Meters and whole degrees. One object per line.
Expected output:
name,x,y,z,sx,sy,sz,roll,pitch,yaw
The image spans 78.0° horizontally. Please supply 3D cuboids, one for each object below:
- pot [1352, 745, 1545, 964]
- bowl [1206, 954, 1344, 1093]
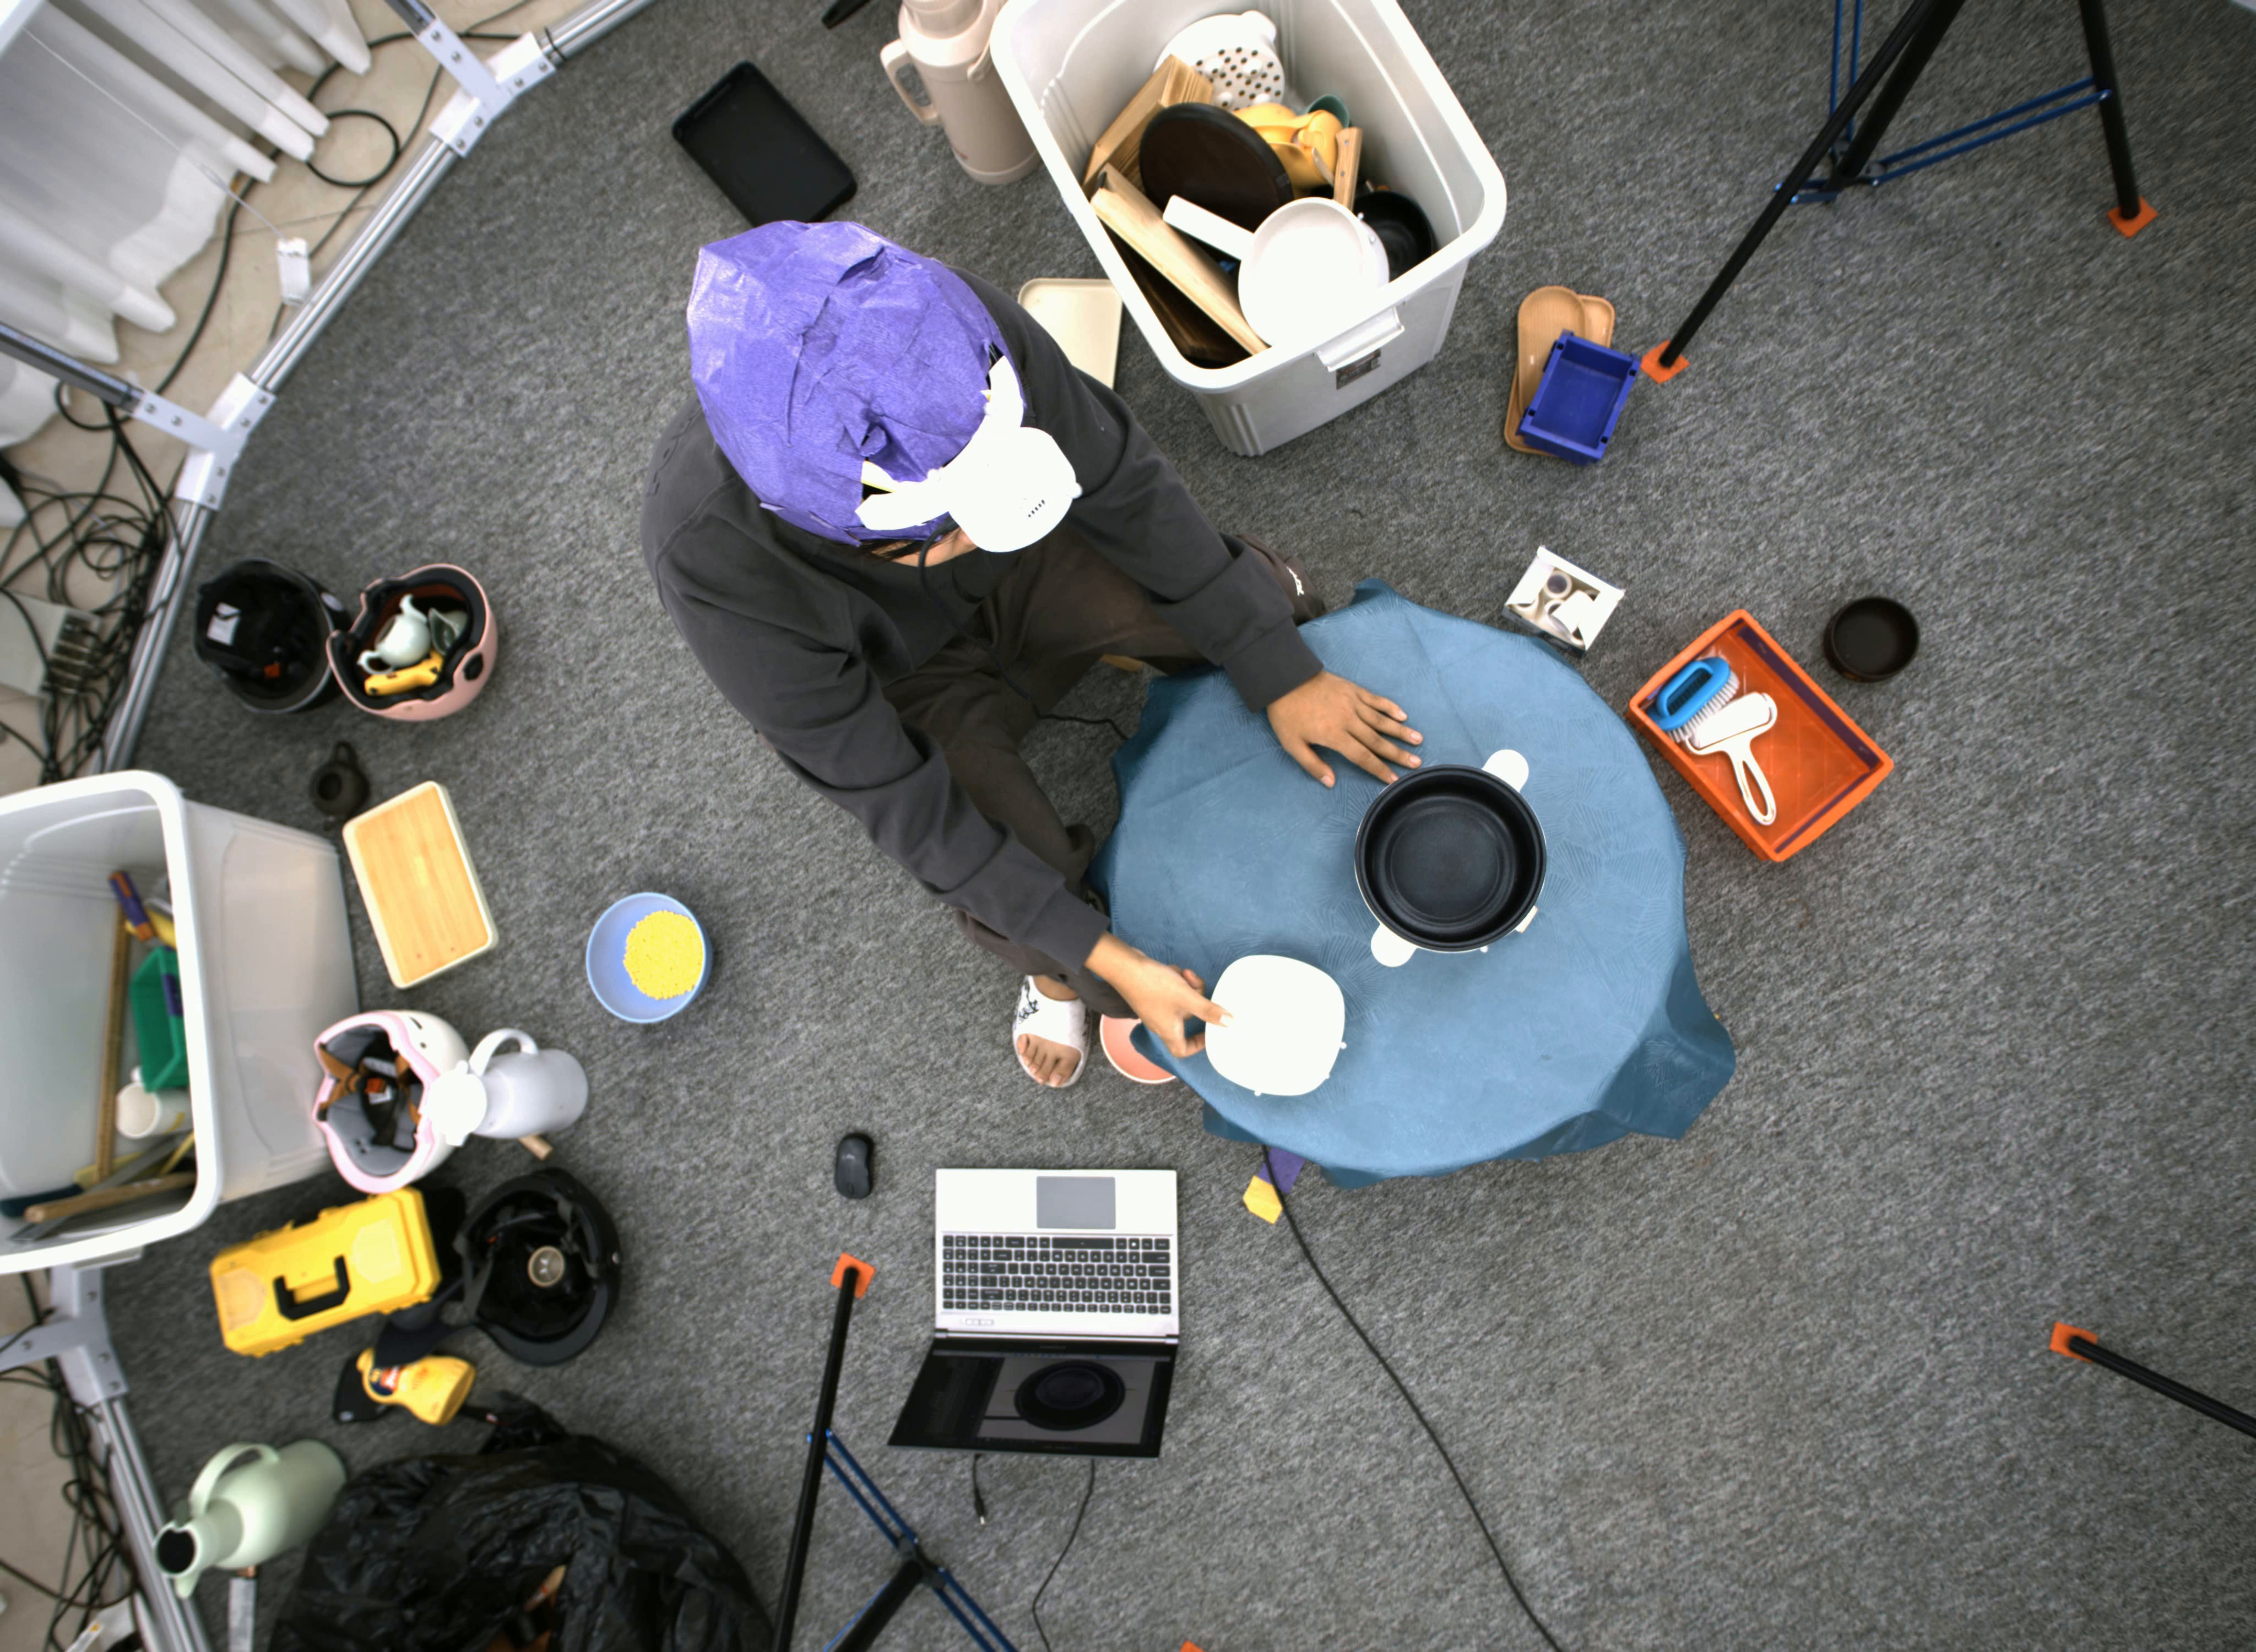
pot,0.324,0.035,1.381,0.190,0.142,0.241,32,94,15
bowl,0.154,0.204,1.447,0.152,0.058,0.151,-1,87,9
